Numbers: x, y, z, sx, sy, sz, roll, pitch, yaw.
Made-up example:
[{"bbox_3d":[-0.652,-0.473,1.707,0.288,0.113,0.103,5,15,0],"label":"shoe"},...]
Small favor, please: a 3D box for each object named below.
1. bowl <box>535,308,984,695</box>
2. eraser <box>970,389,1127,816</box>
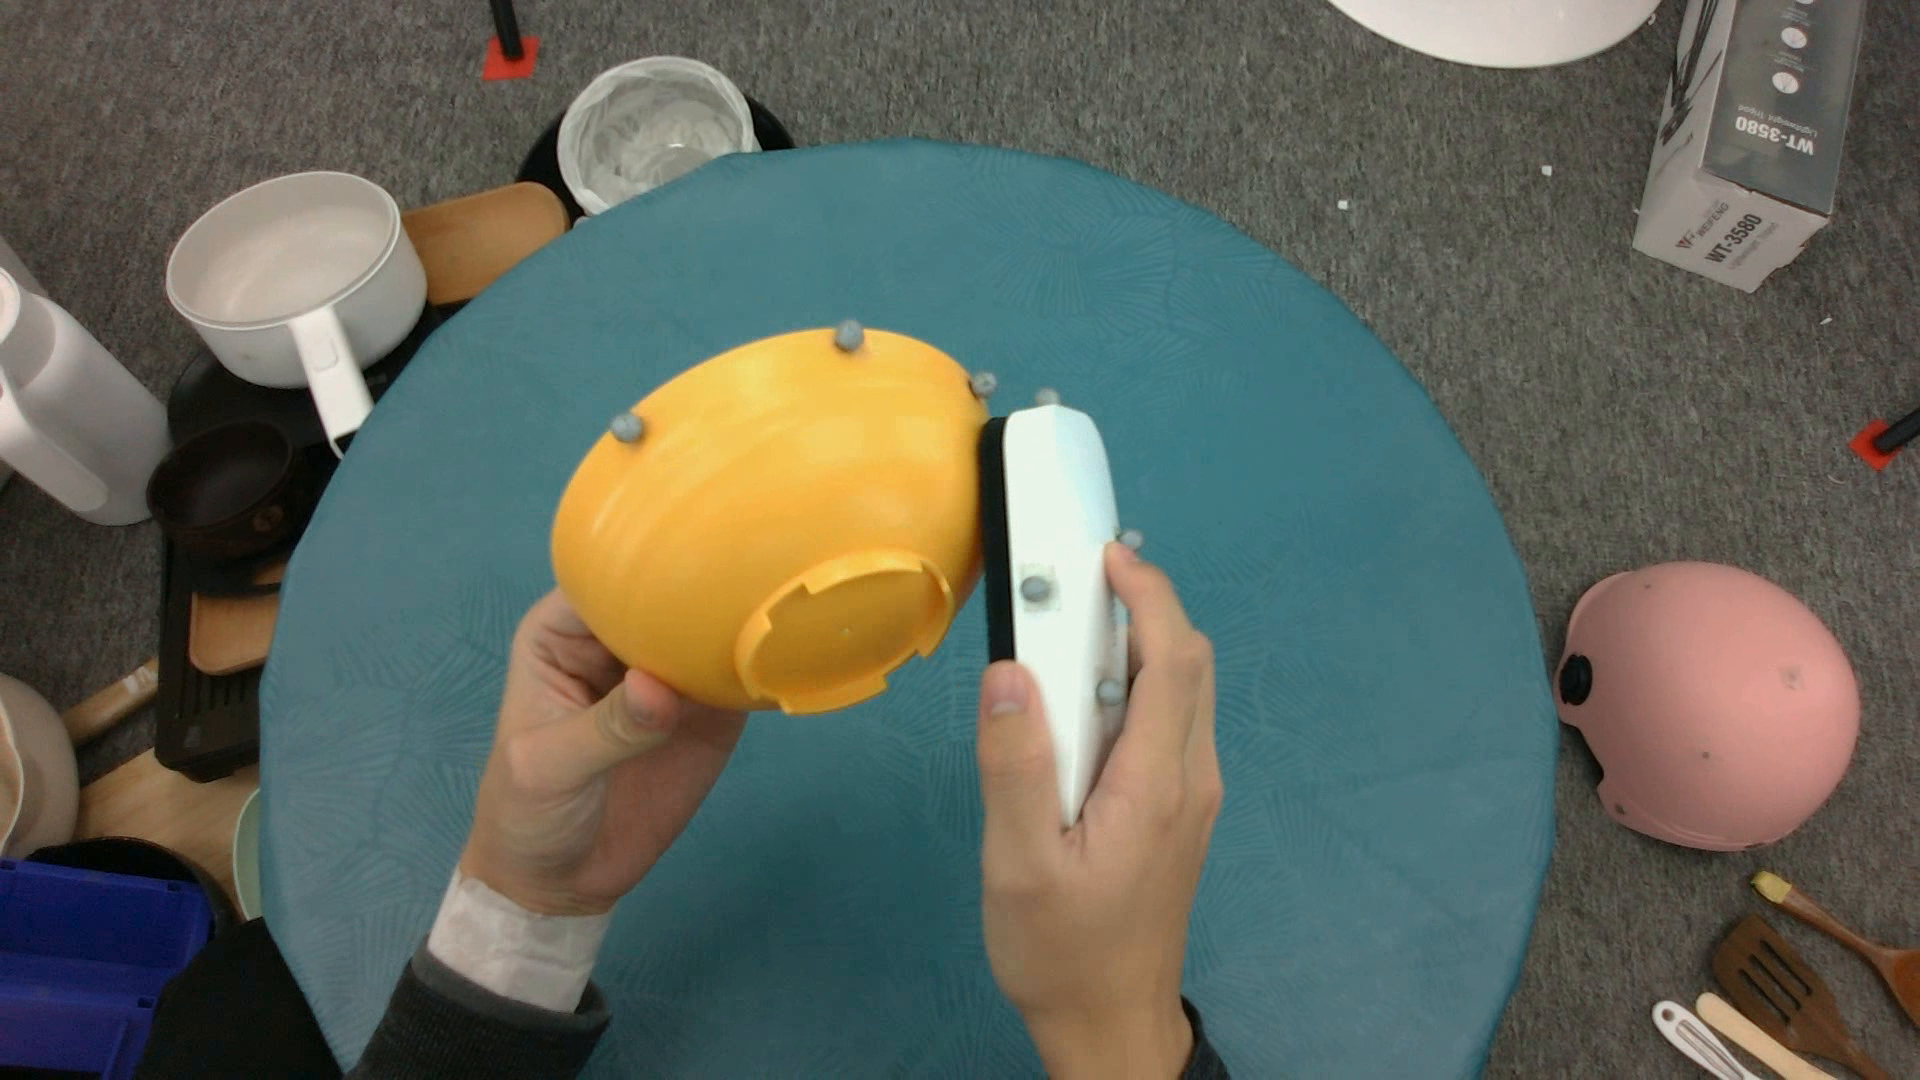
[{"bbox_3d":[-0.049,0.004,0.419,0.145,0.144,0.060,-22,56,-13],"label":"bowl"},{"bbox_3d":[0.030,0.019,0.437,0.034,0.063,0.131,-5,86,22],"label":"eraser"}]
